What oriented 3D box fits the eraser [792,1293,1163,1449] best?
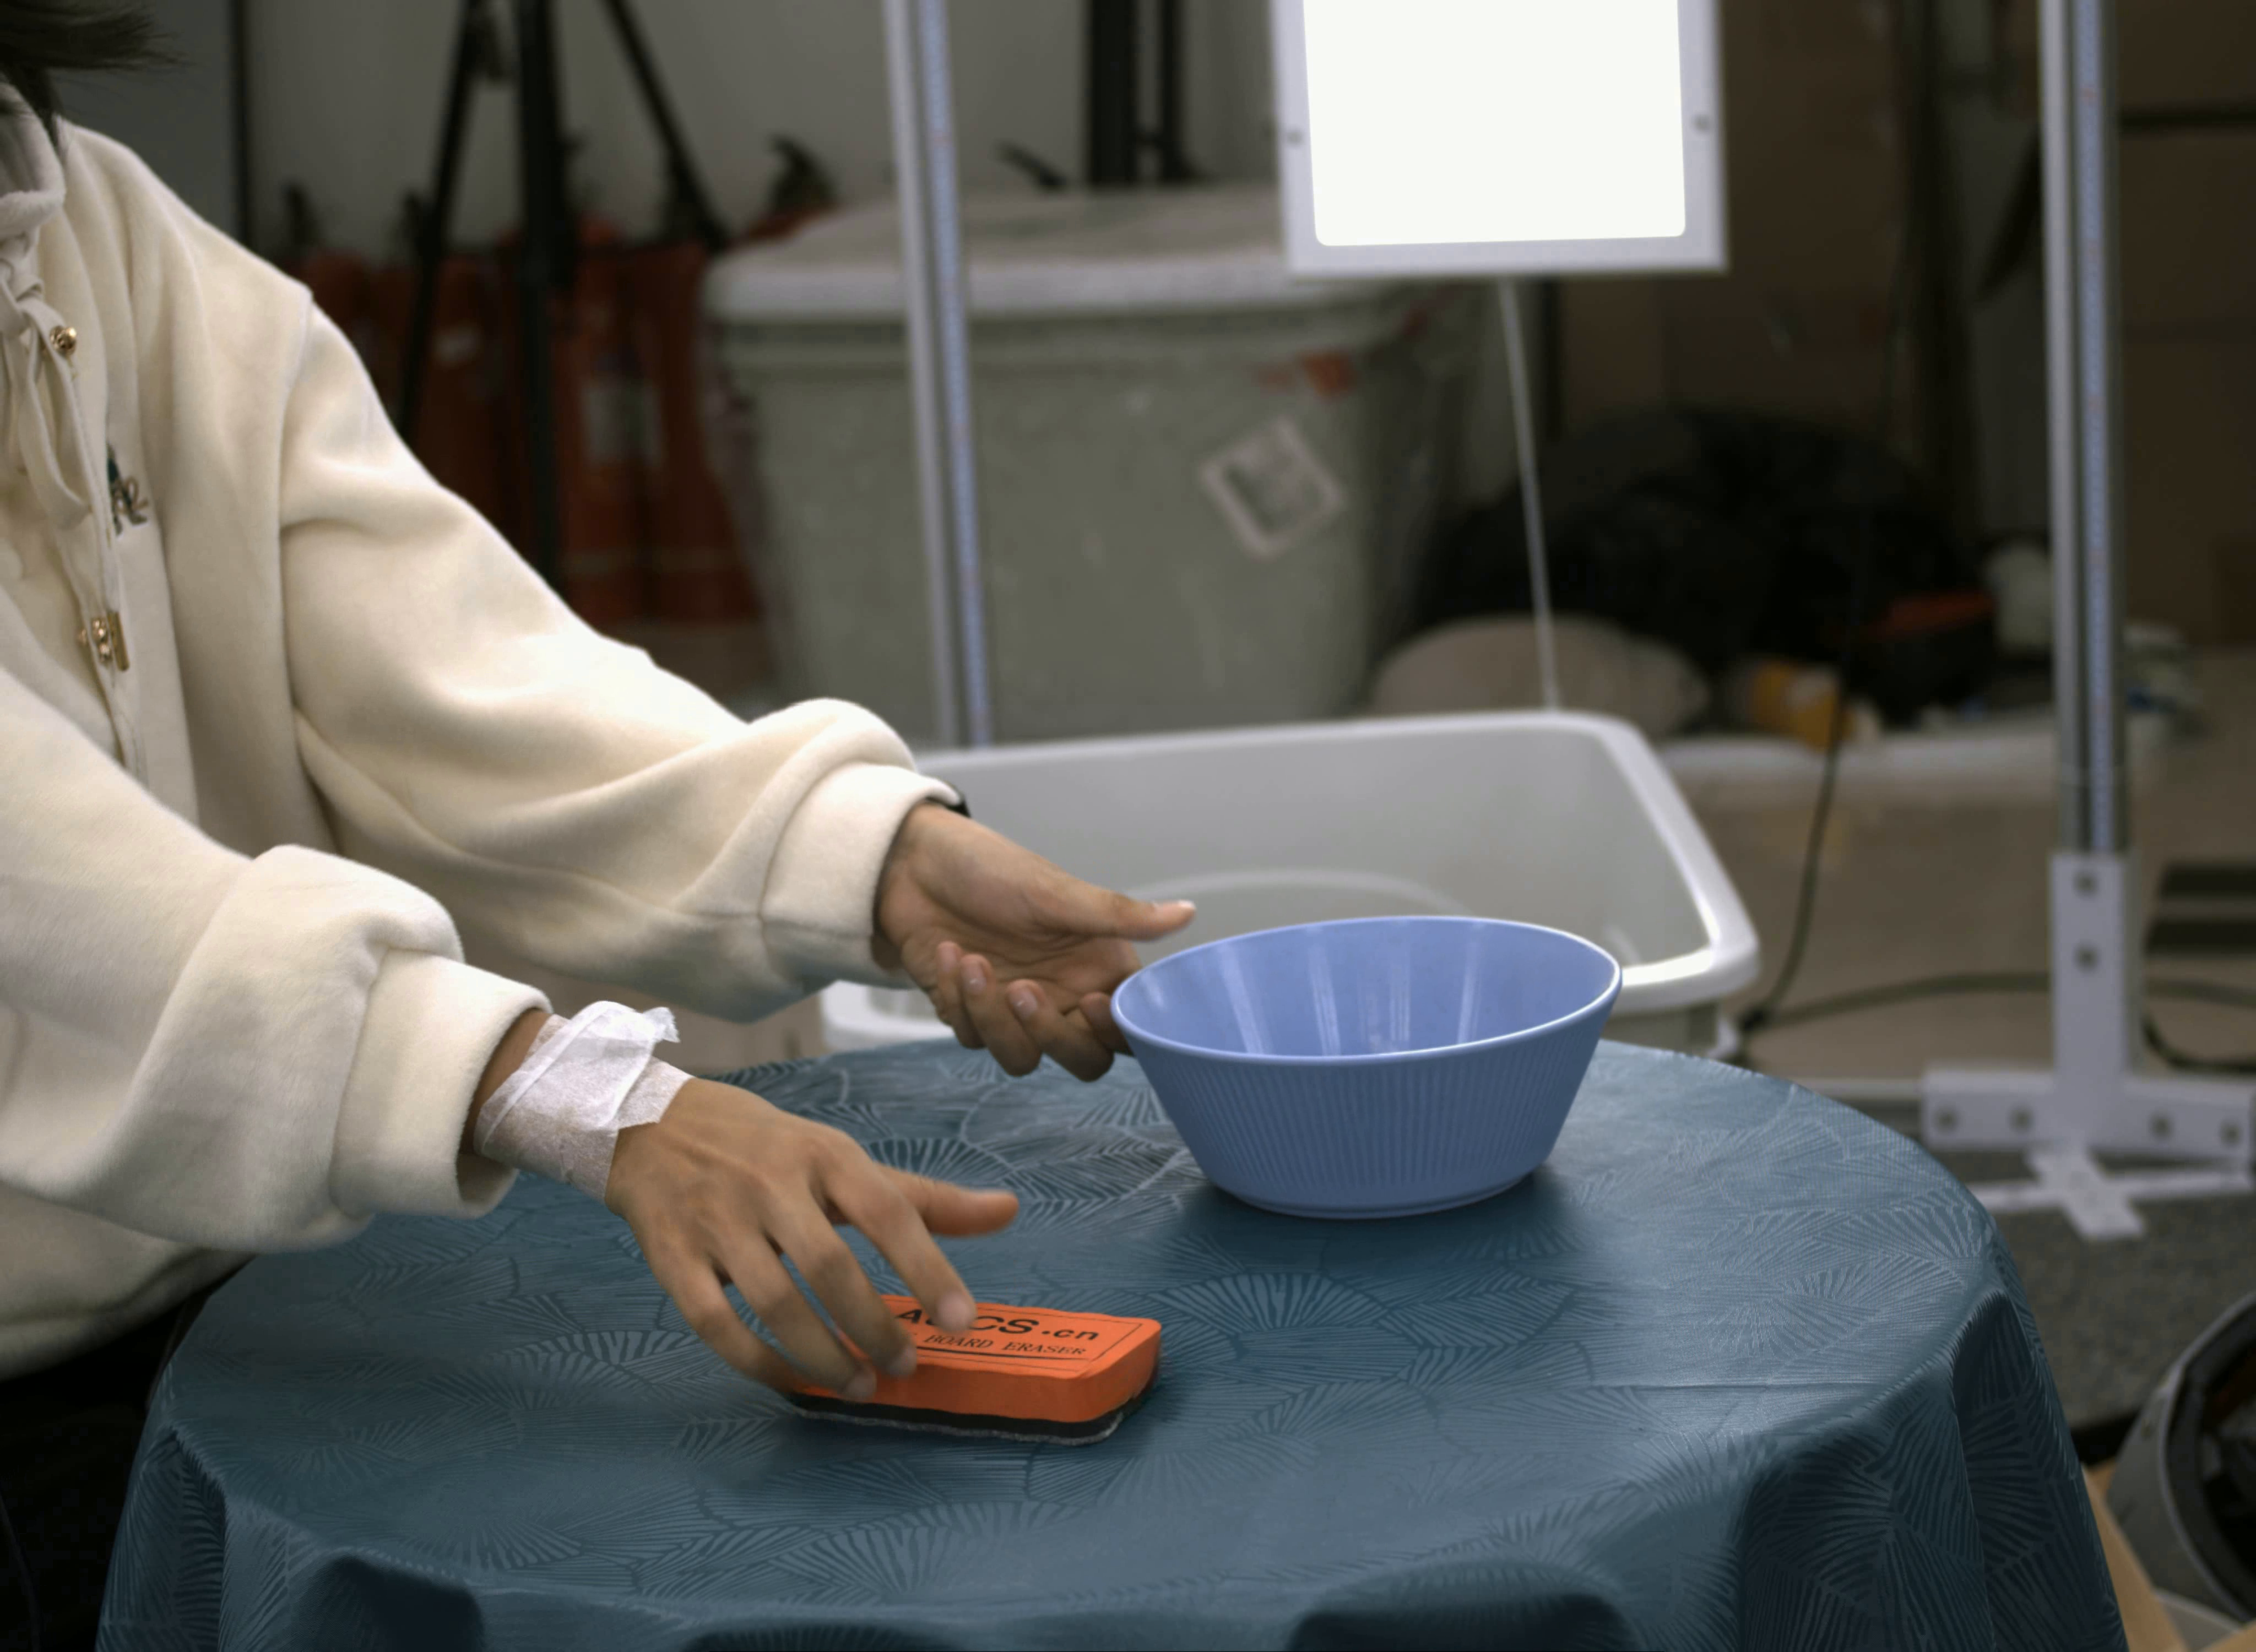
[{"bbox_3d":[-0.046,0.167,1.701,0.110,0.023,0.057,3,18,30],"label":"eraser"}]

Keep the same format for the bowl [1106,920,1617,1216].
[{"bbox_3d":[0.082,0.085,1.888,0.175,0.070,0.176,-5,14,0],"label":"bowl"}]
